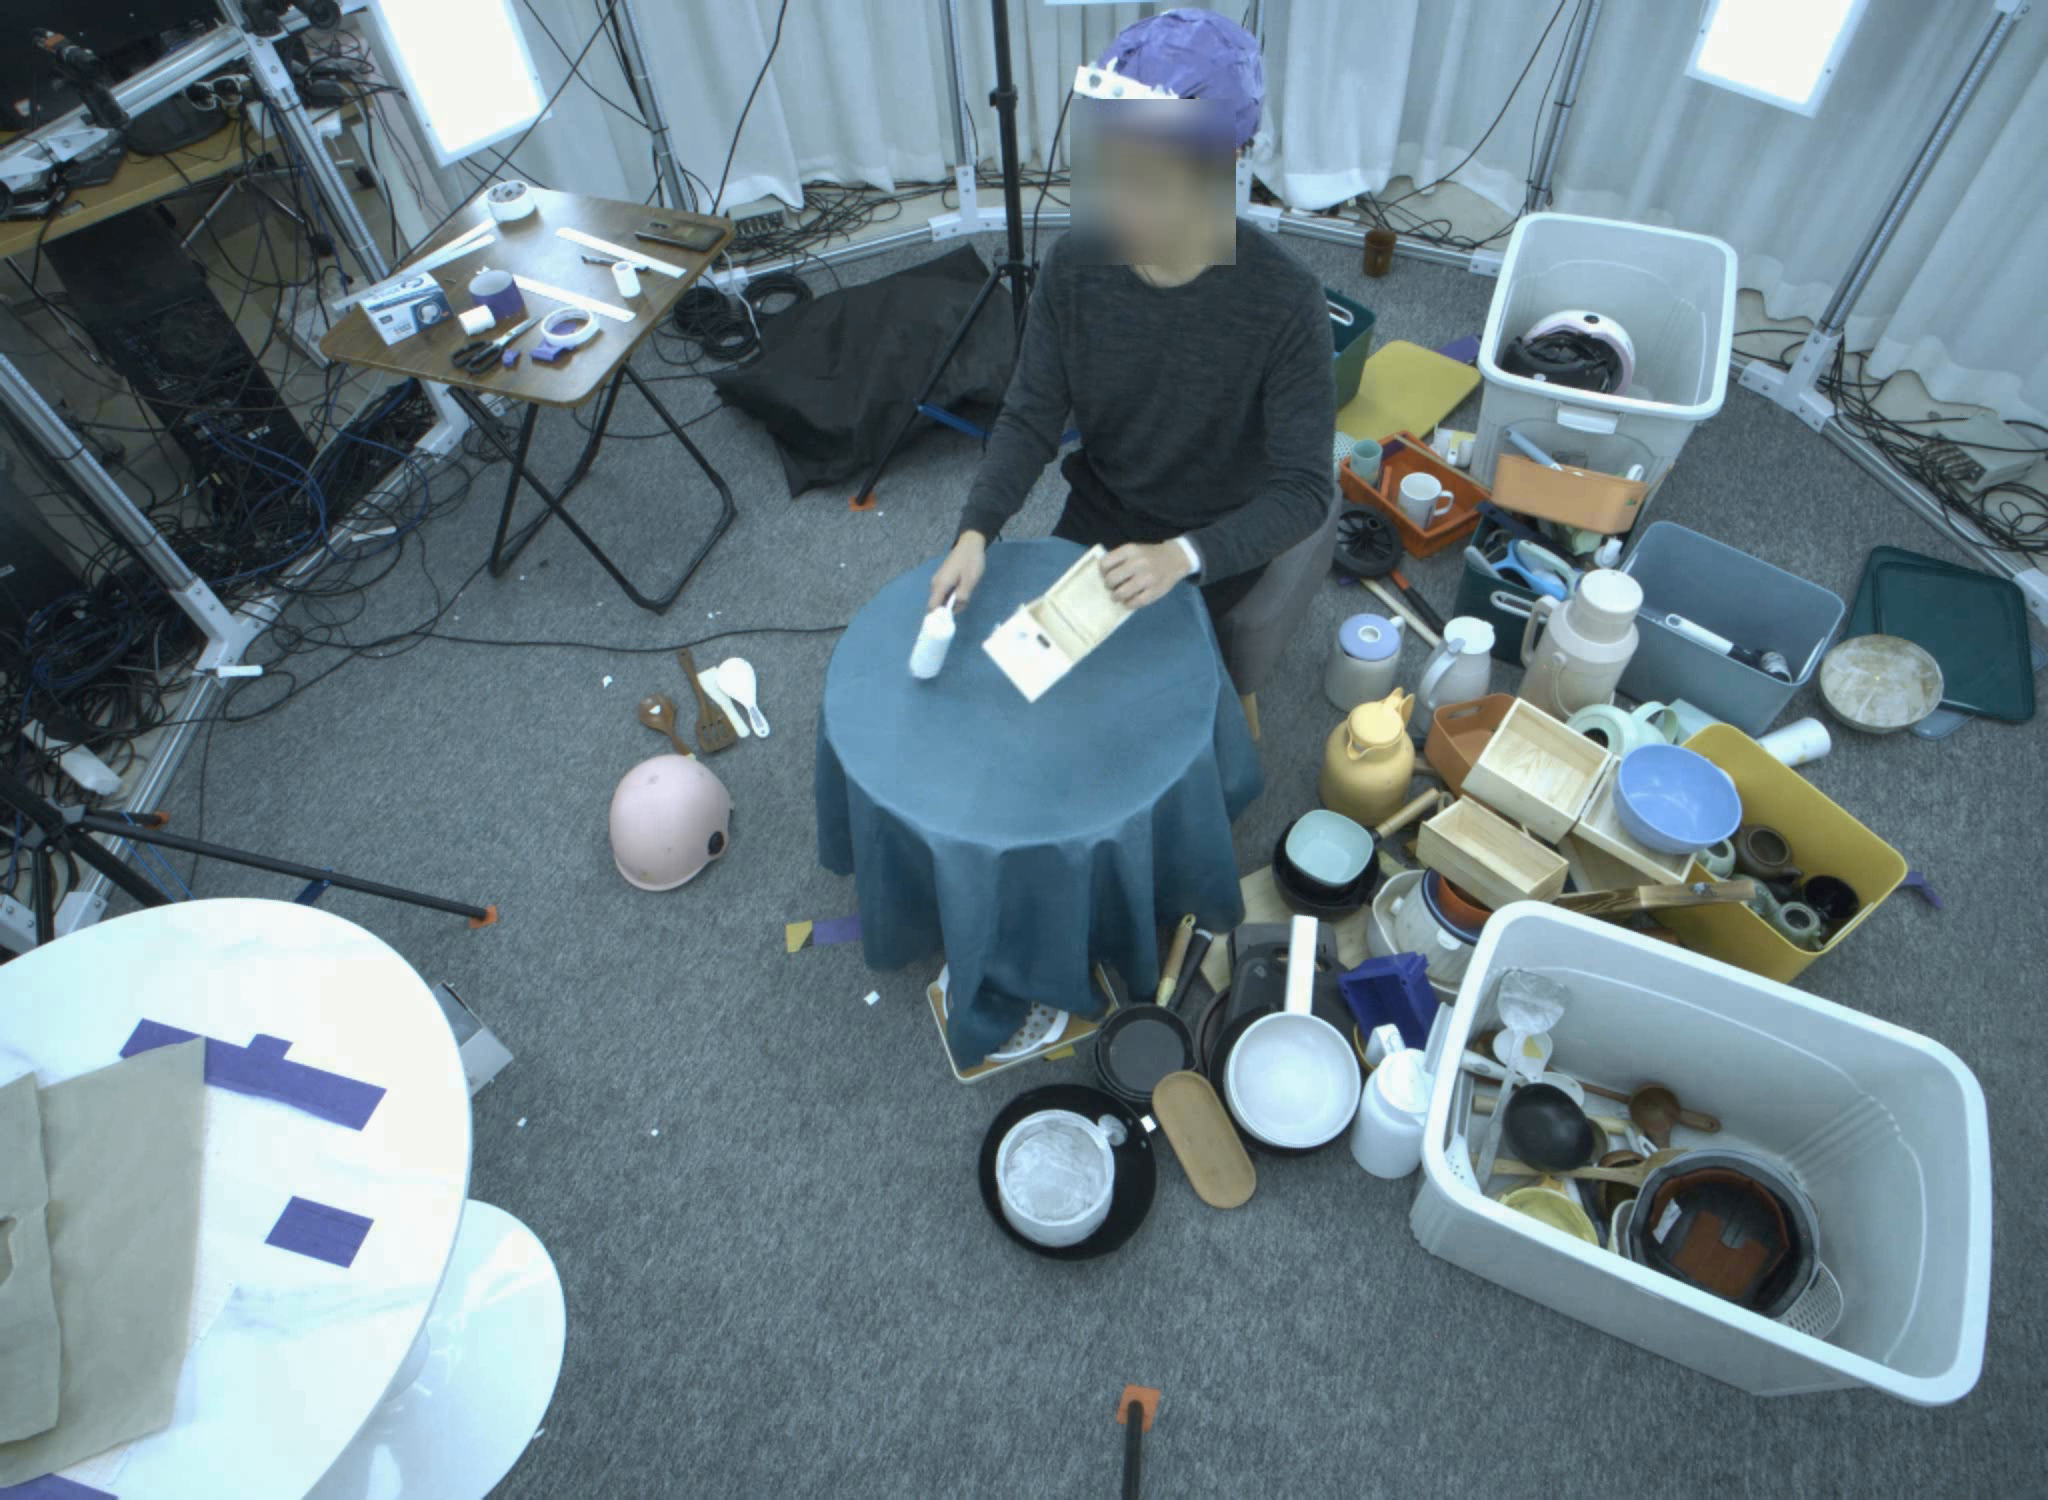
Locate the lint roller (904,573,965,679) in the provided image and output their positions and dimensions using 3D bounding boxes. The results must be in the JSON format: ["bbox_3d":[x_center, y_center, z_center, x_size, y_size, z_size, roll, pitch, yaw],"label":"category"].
[{"bbox_3d":[-0.128,-0.204,1.845,0.051,0.132,0.179,20,59,-15],"label":"lint roller"}]

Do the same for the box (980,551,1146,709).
[{"bbox_3d":[0.053,-0.163,1.645,0.103,0.183,0.134,47,24,-1],"label":"box"}]
